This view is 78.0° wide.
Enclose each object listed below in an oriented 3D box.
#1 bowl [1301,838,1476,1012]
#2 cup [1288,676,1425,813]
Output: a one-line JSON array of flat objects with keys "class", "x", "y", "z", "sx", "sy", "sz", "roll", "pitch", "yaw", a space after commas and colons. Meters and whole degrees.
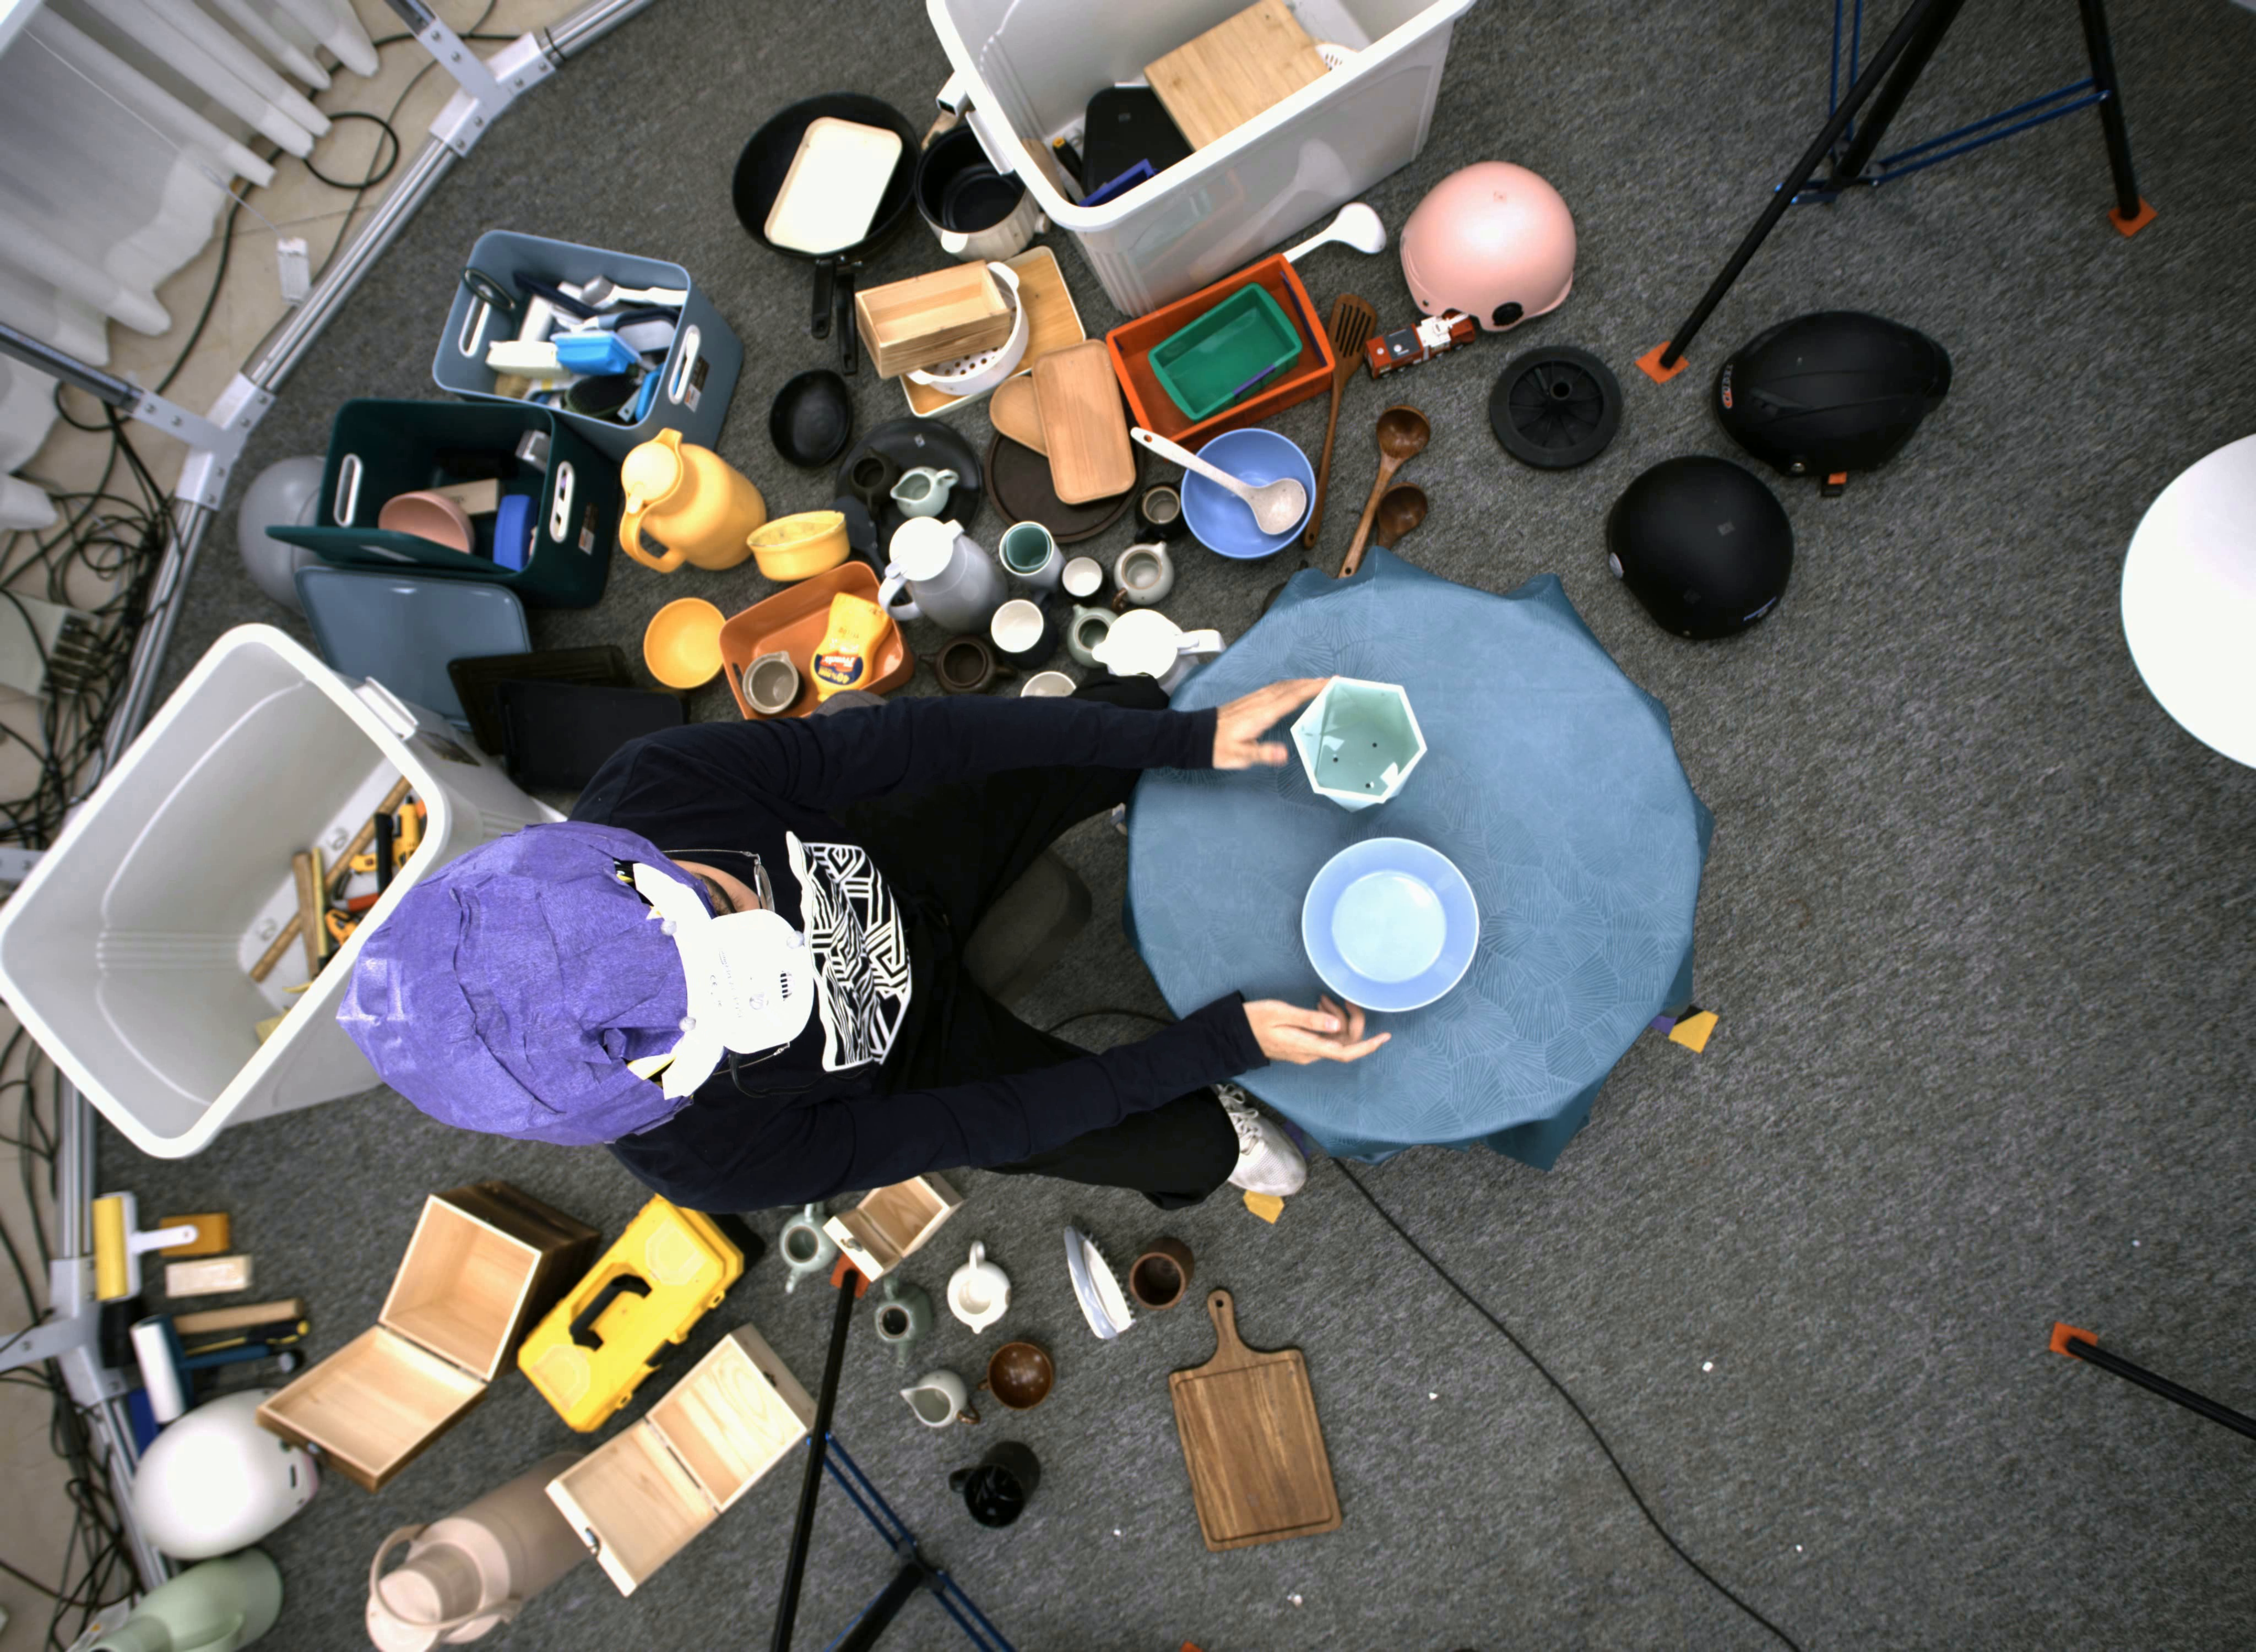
[{"class": "bowl", "x": 0.267, "y": 0.101, "z": 1.422, "sx": 0.177, "sy": 0.070, "sz": 0.175, "roll": -1, "pitch": 86, "yaw": 11}, {"class": "cup", "x": 0.234, "y": -0.077, "z": 1.391, "sx": 0.116, "sy": 0.163, "sz": 0.130, "roll": -24, "pitch": 80, "yaw": 9}]
